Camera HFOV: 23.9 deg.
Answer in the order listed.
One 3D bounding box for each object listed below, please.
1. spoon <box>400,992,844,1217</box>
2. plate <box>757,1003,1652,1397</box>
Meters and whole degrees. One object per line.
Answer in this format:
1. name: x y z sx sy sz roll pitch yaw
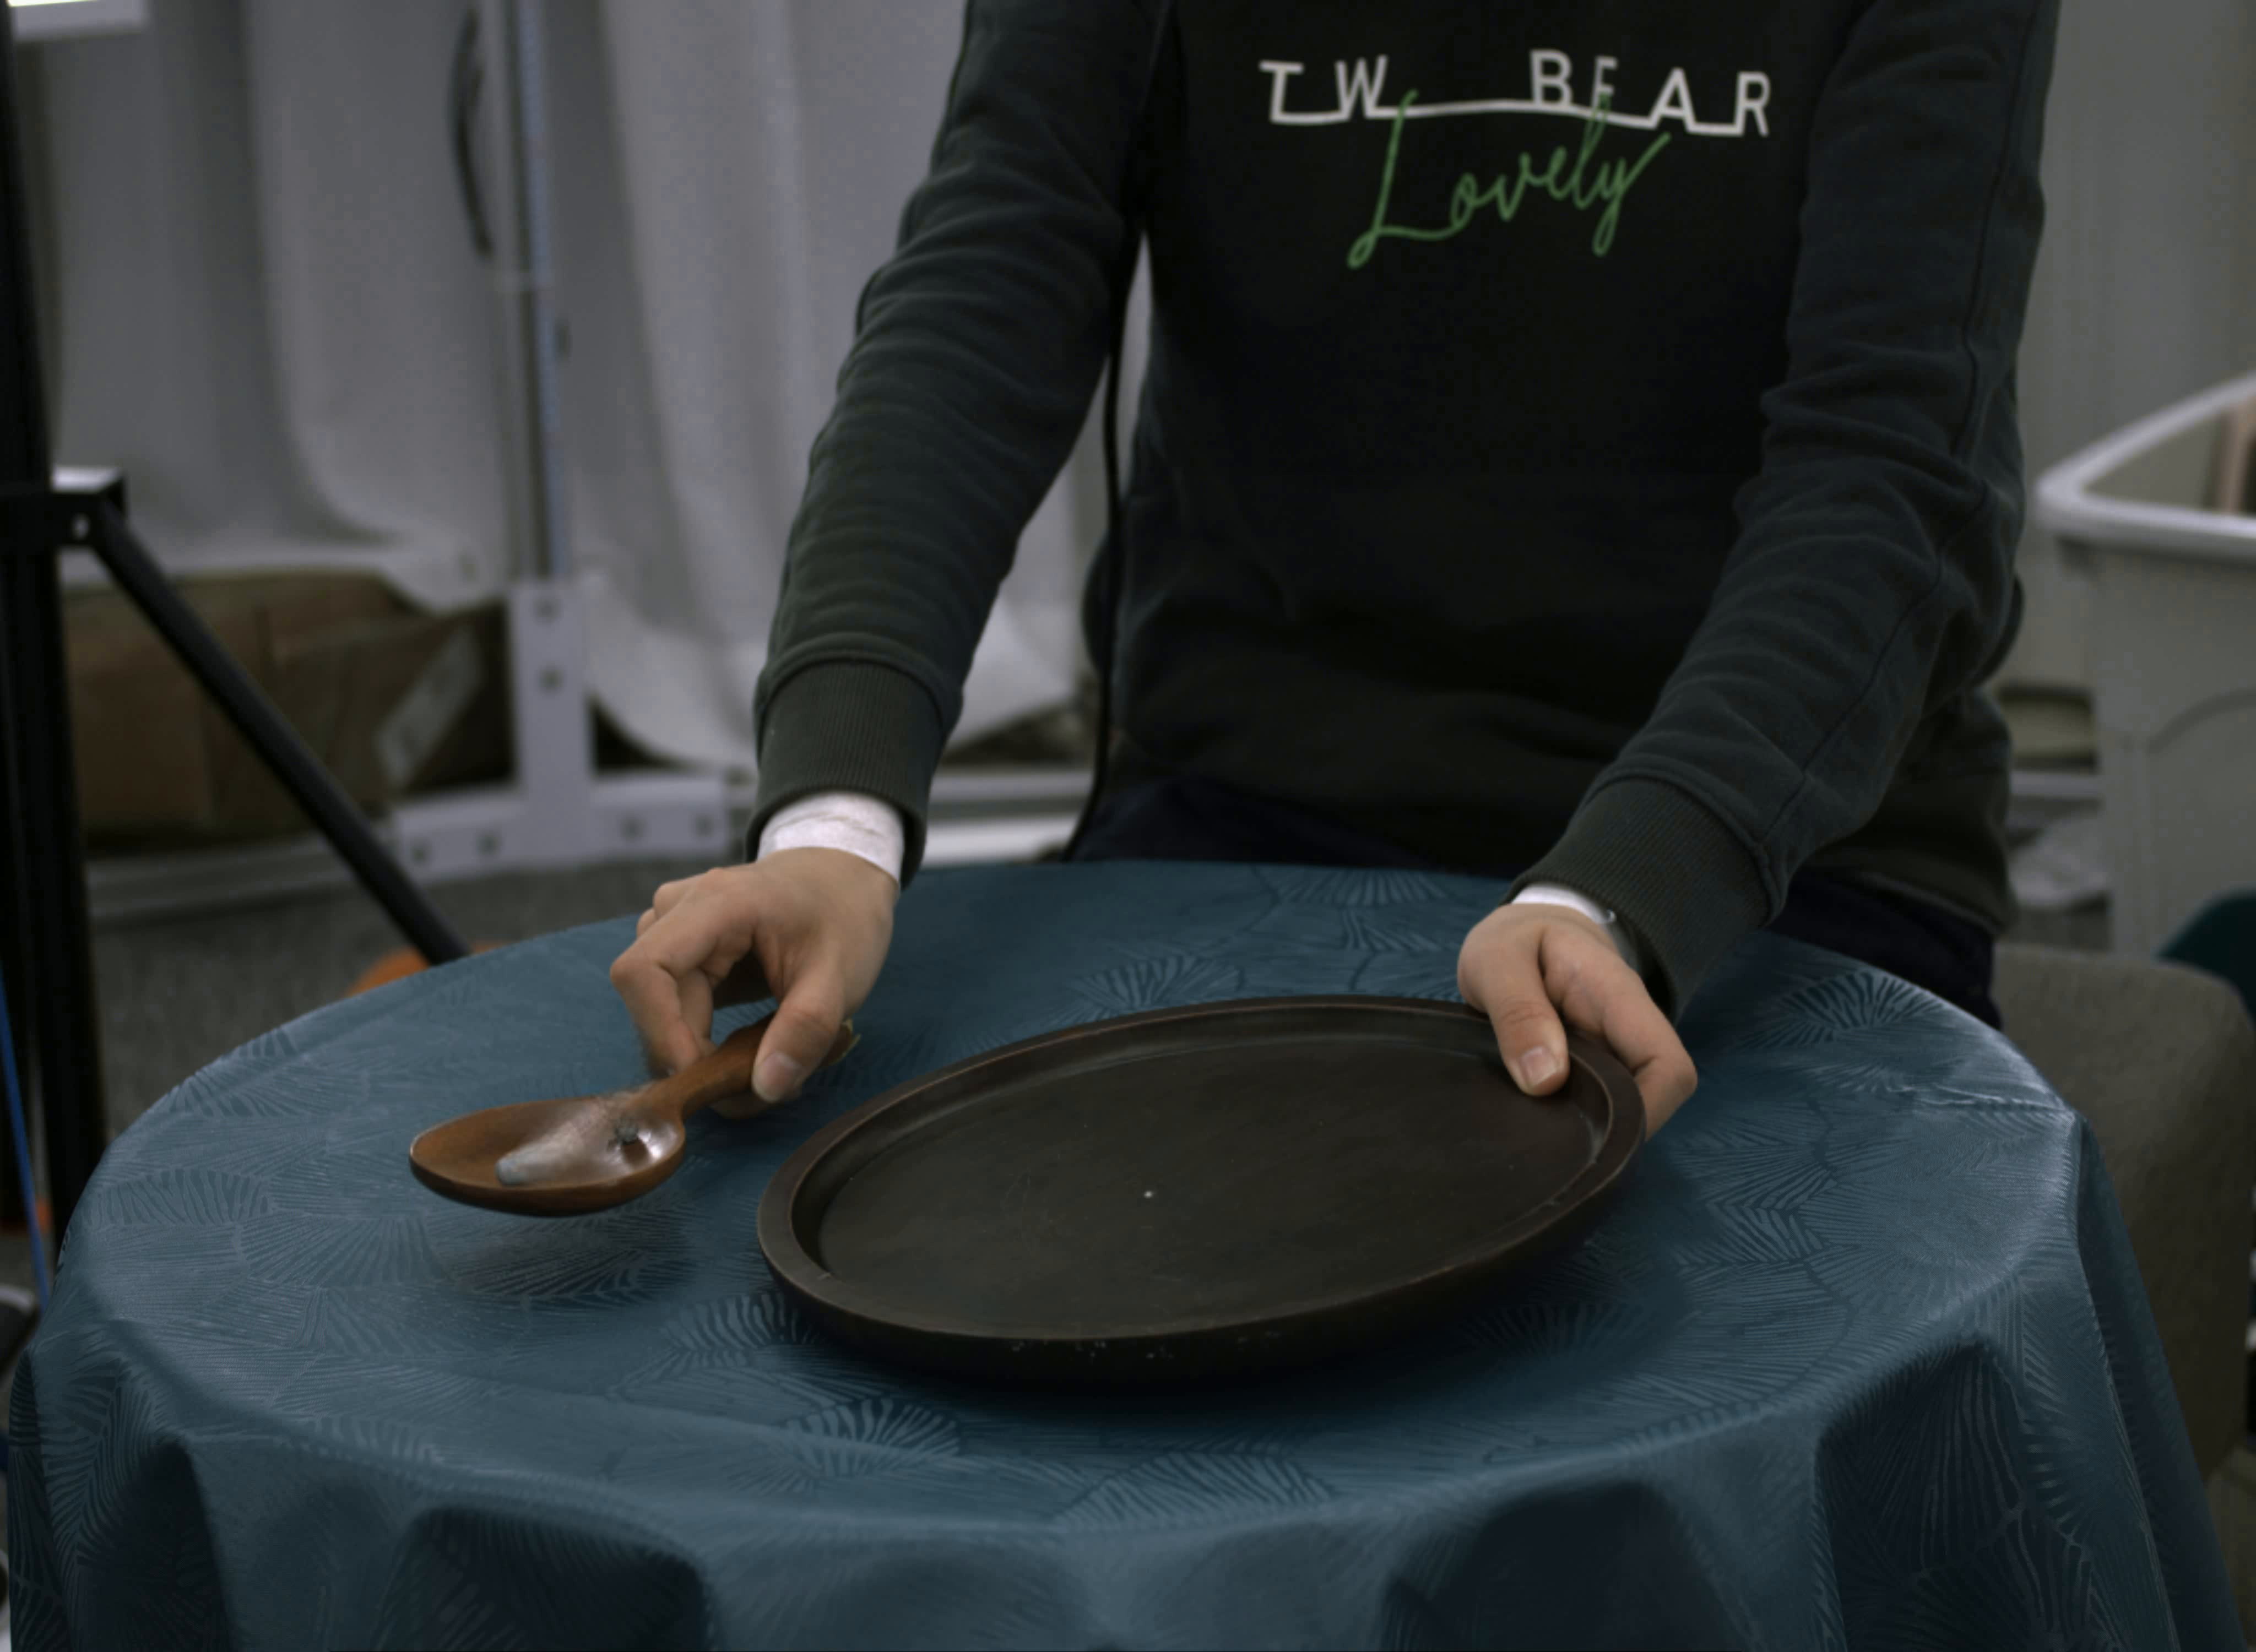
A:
1. spoon: -0.140 0.083 1.579 0.076 0.017 0.212 8 16 24
2. plate: 0.022 0.102 1.490 0.254 0.029 0.256 -8 19 1
